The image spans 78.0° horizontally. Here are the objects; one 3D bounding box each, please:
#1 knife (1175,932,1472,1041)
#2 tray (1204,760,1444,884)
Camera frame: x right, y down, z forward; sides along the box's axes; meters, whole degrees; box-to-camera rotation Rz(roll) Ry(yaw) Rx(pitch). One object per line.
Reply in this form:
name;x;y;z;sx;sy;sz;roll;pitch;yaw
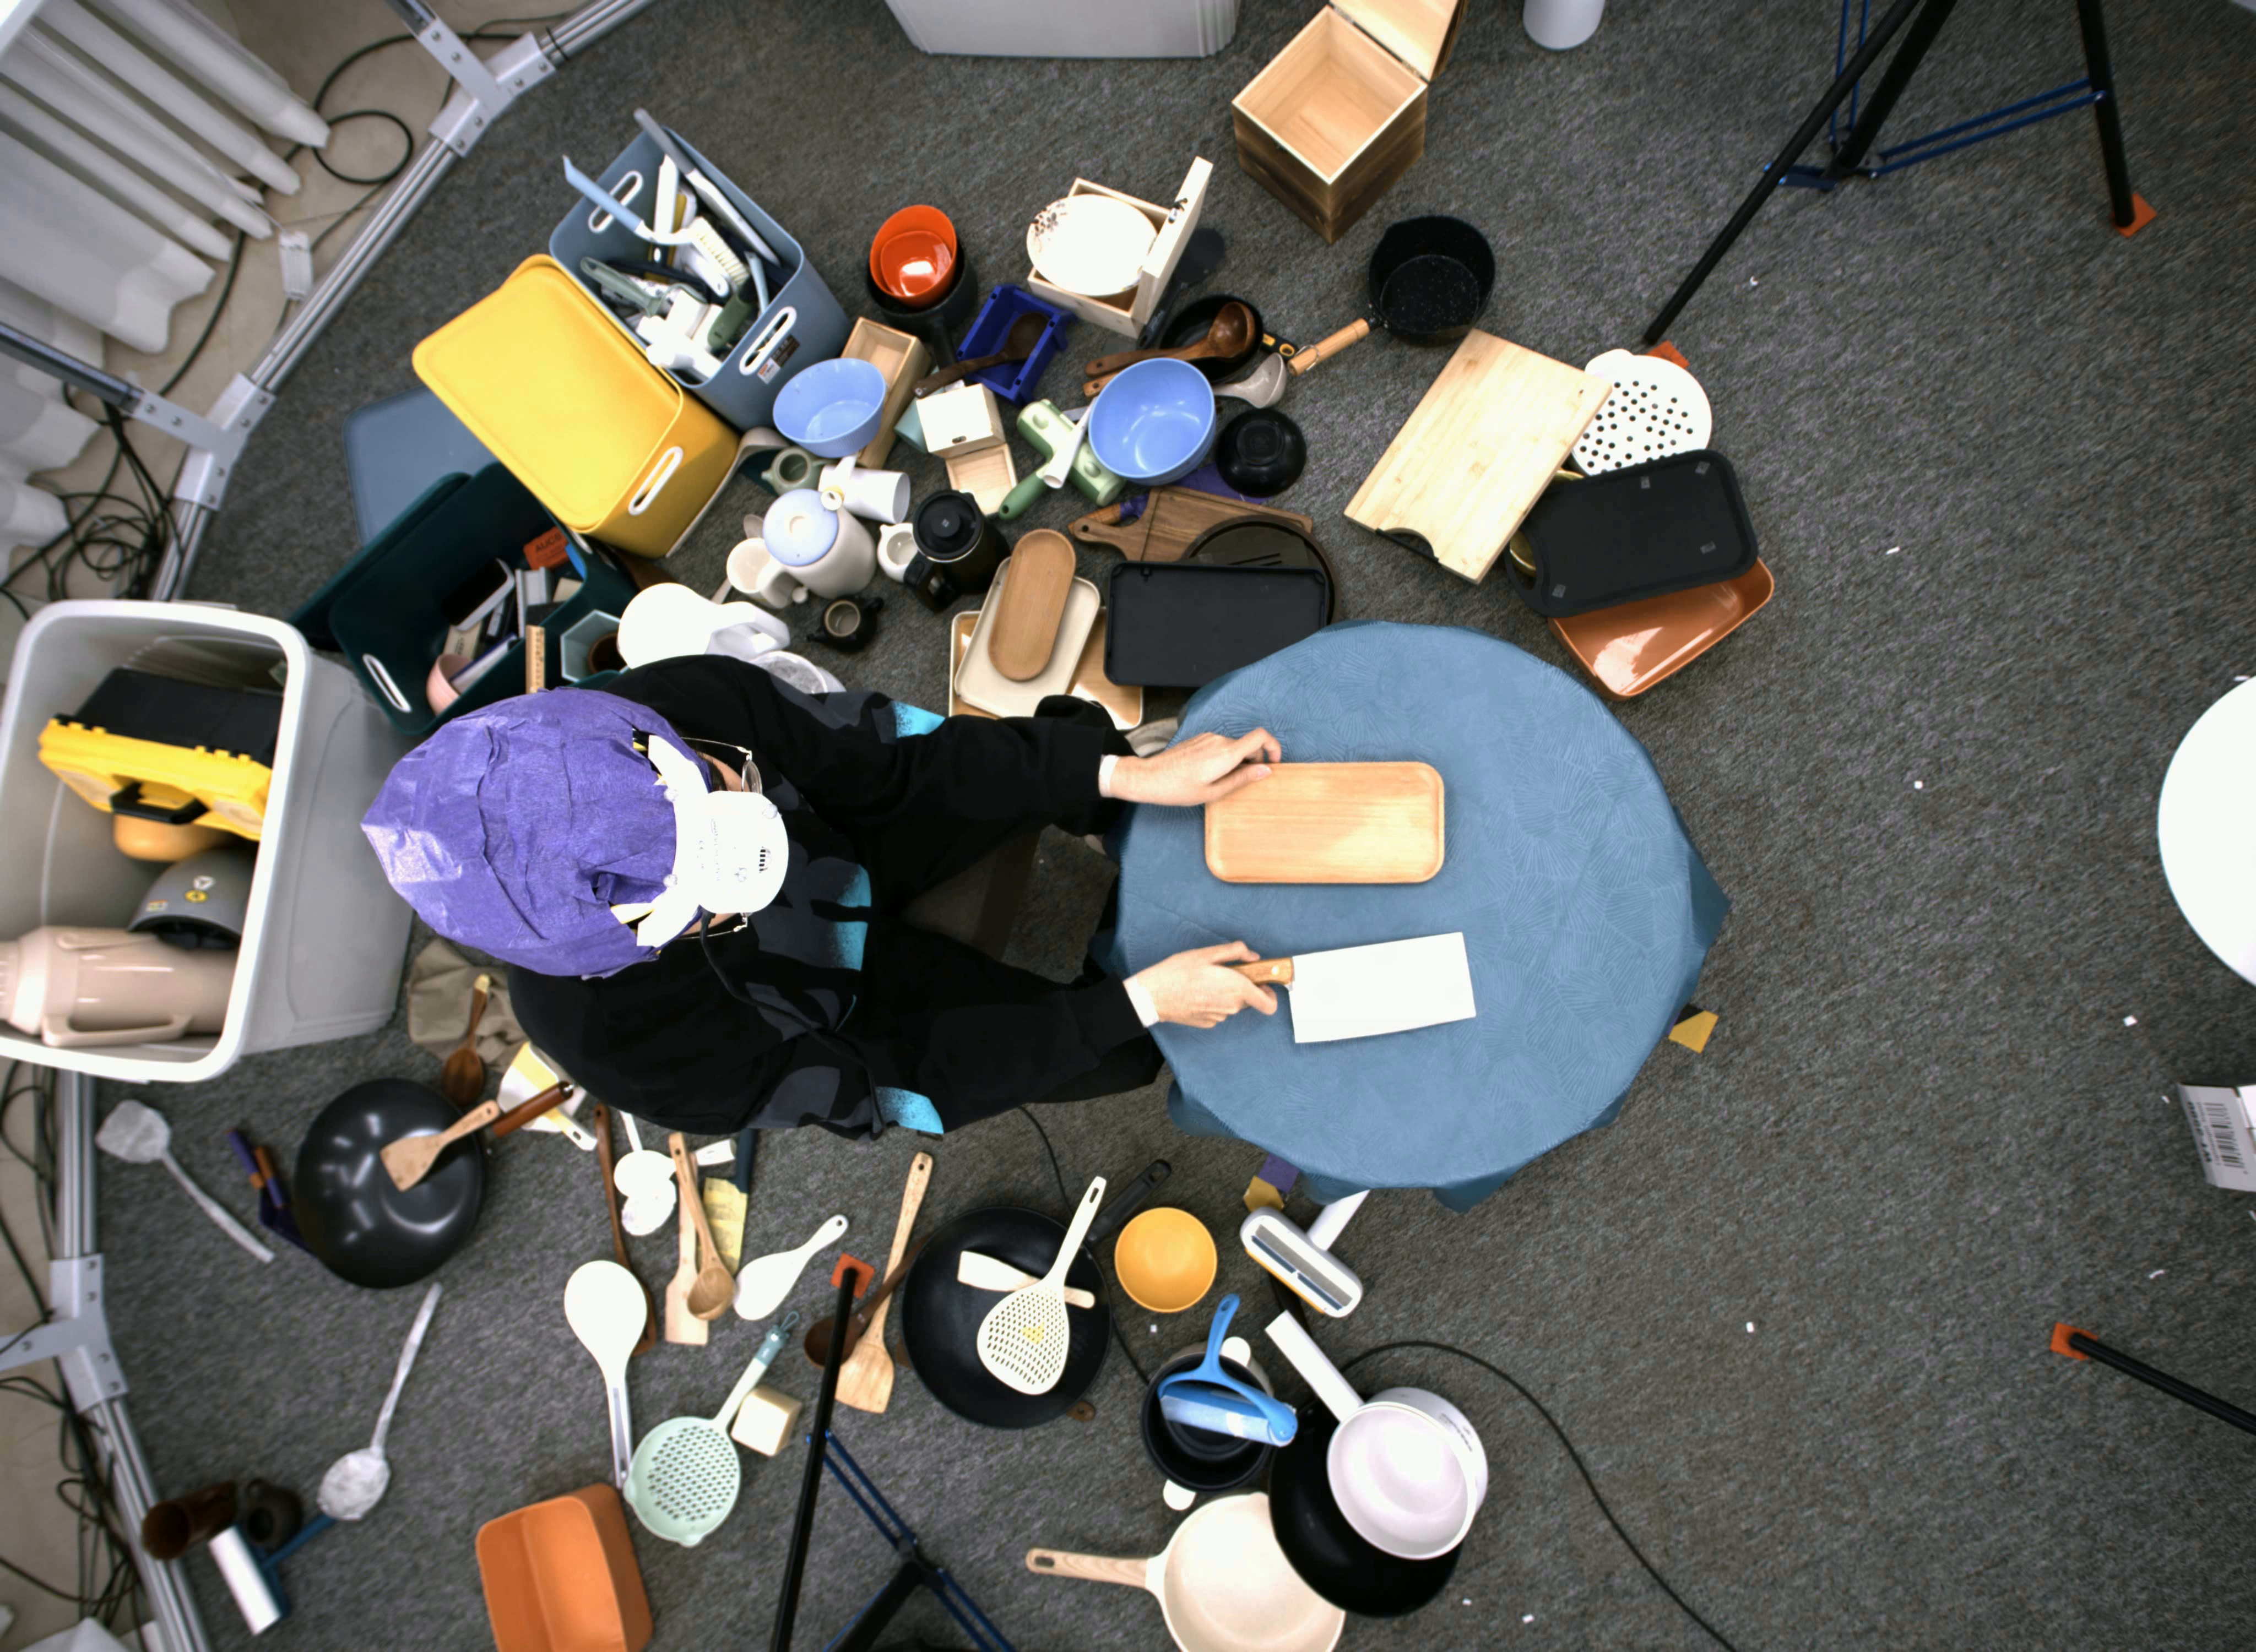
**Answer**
knife;0.205;0.173;1.441;0.306;0.021;0.092;-8;85;1
tray;0.206;-0.005;1.458;0.251;0.023;0.131;1;95;11
